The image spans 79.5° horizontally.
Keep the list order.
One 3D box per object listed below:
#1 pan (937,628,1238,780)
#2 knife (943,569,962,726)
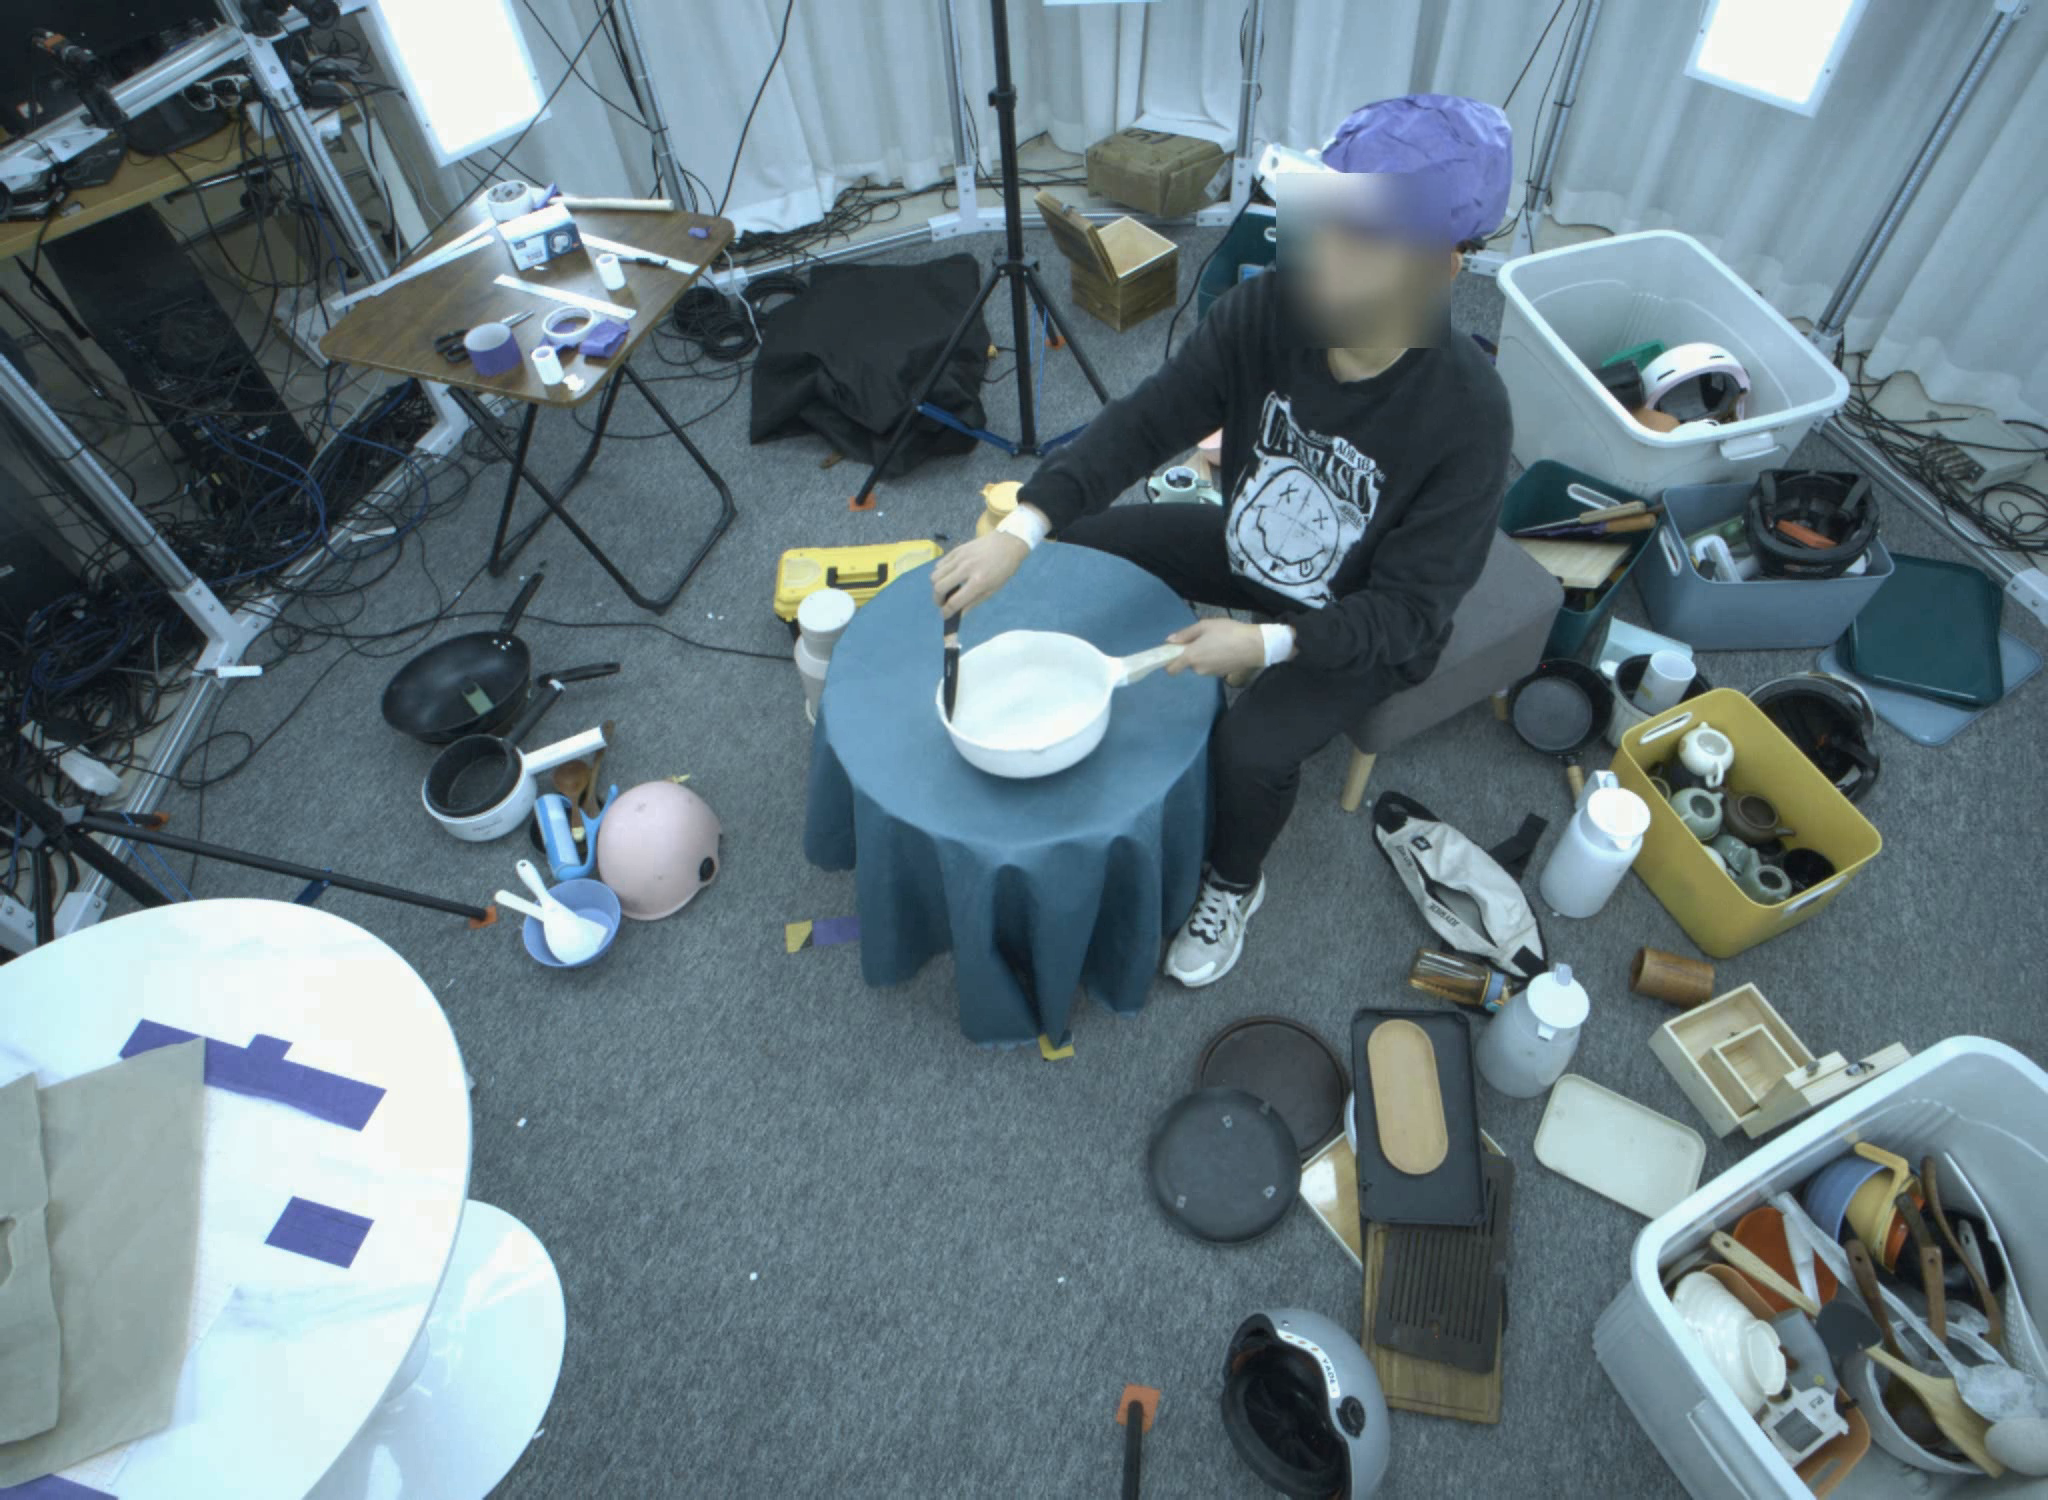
[{"bbox_3d":[0.096,-0.082,1.752,0.436,0.103,0.259,-12,43,-3],"label":"pan"},{"bbox_3d":[-0.101,-0.141,1.722,0.026,0.226,0.017,-3,11,-25],"label":"knife"}]
